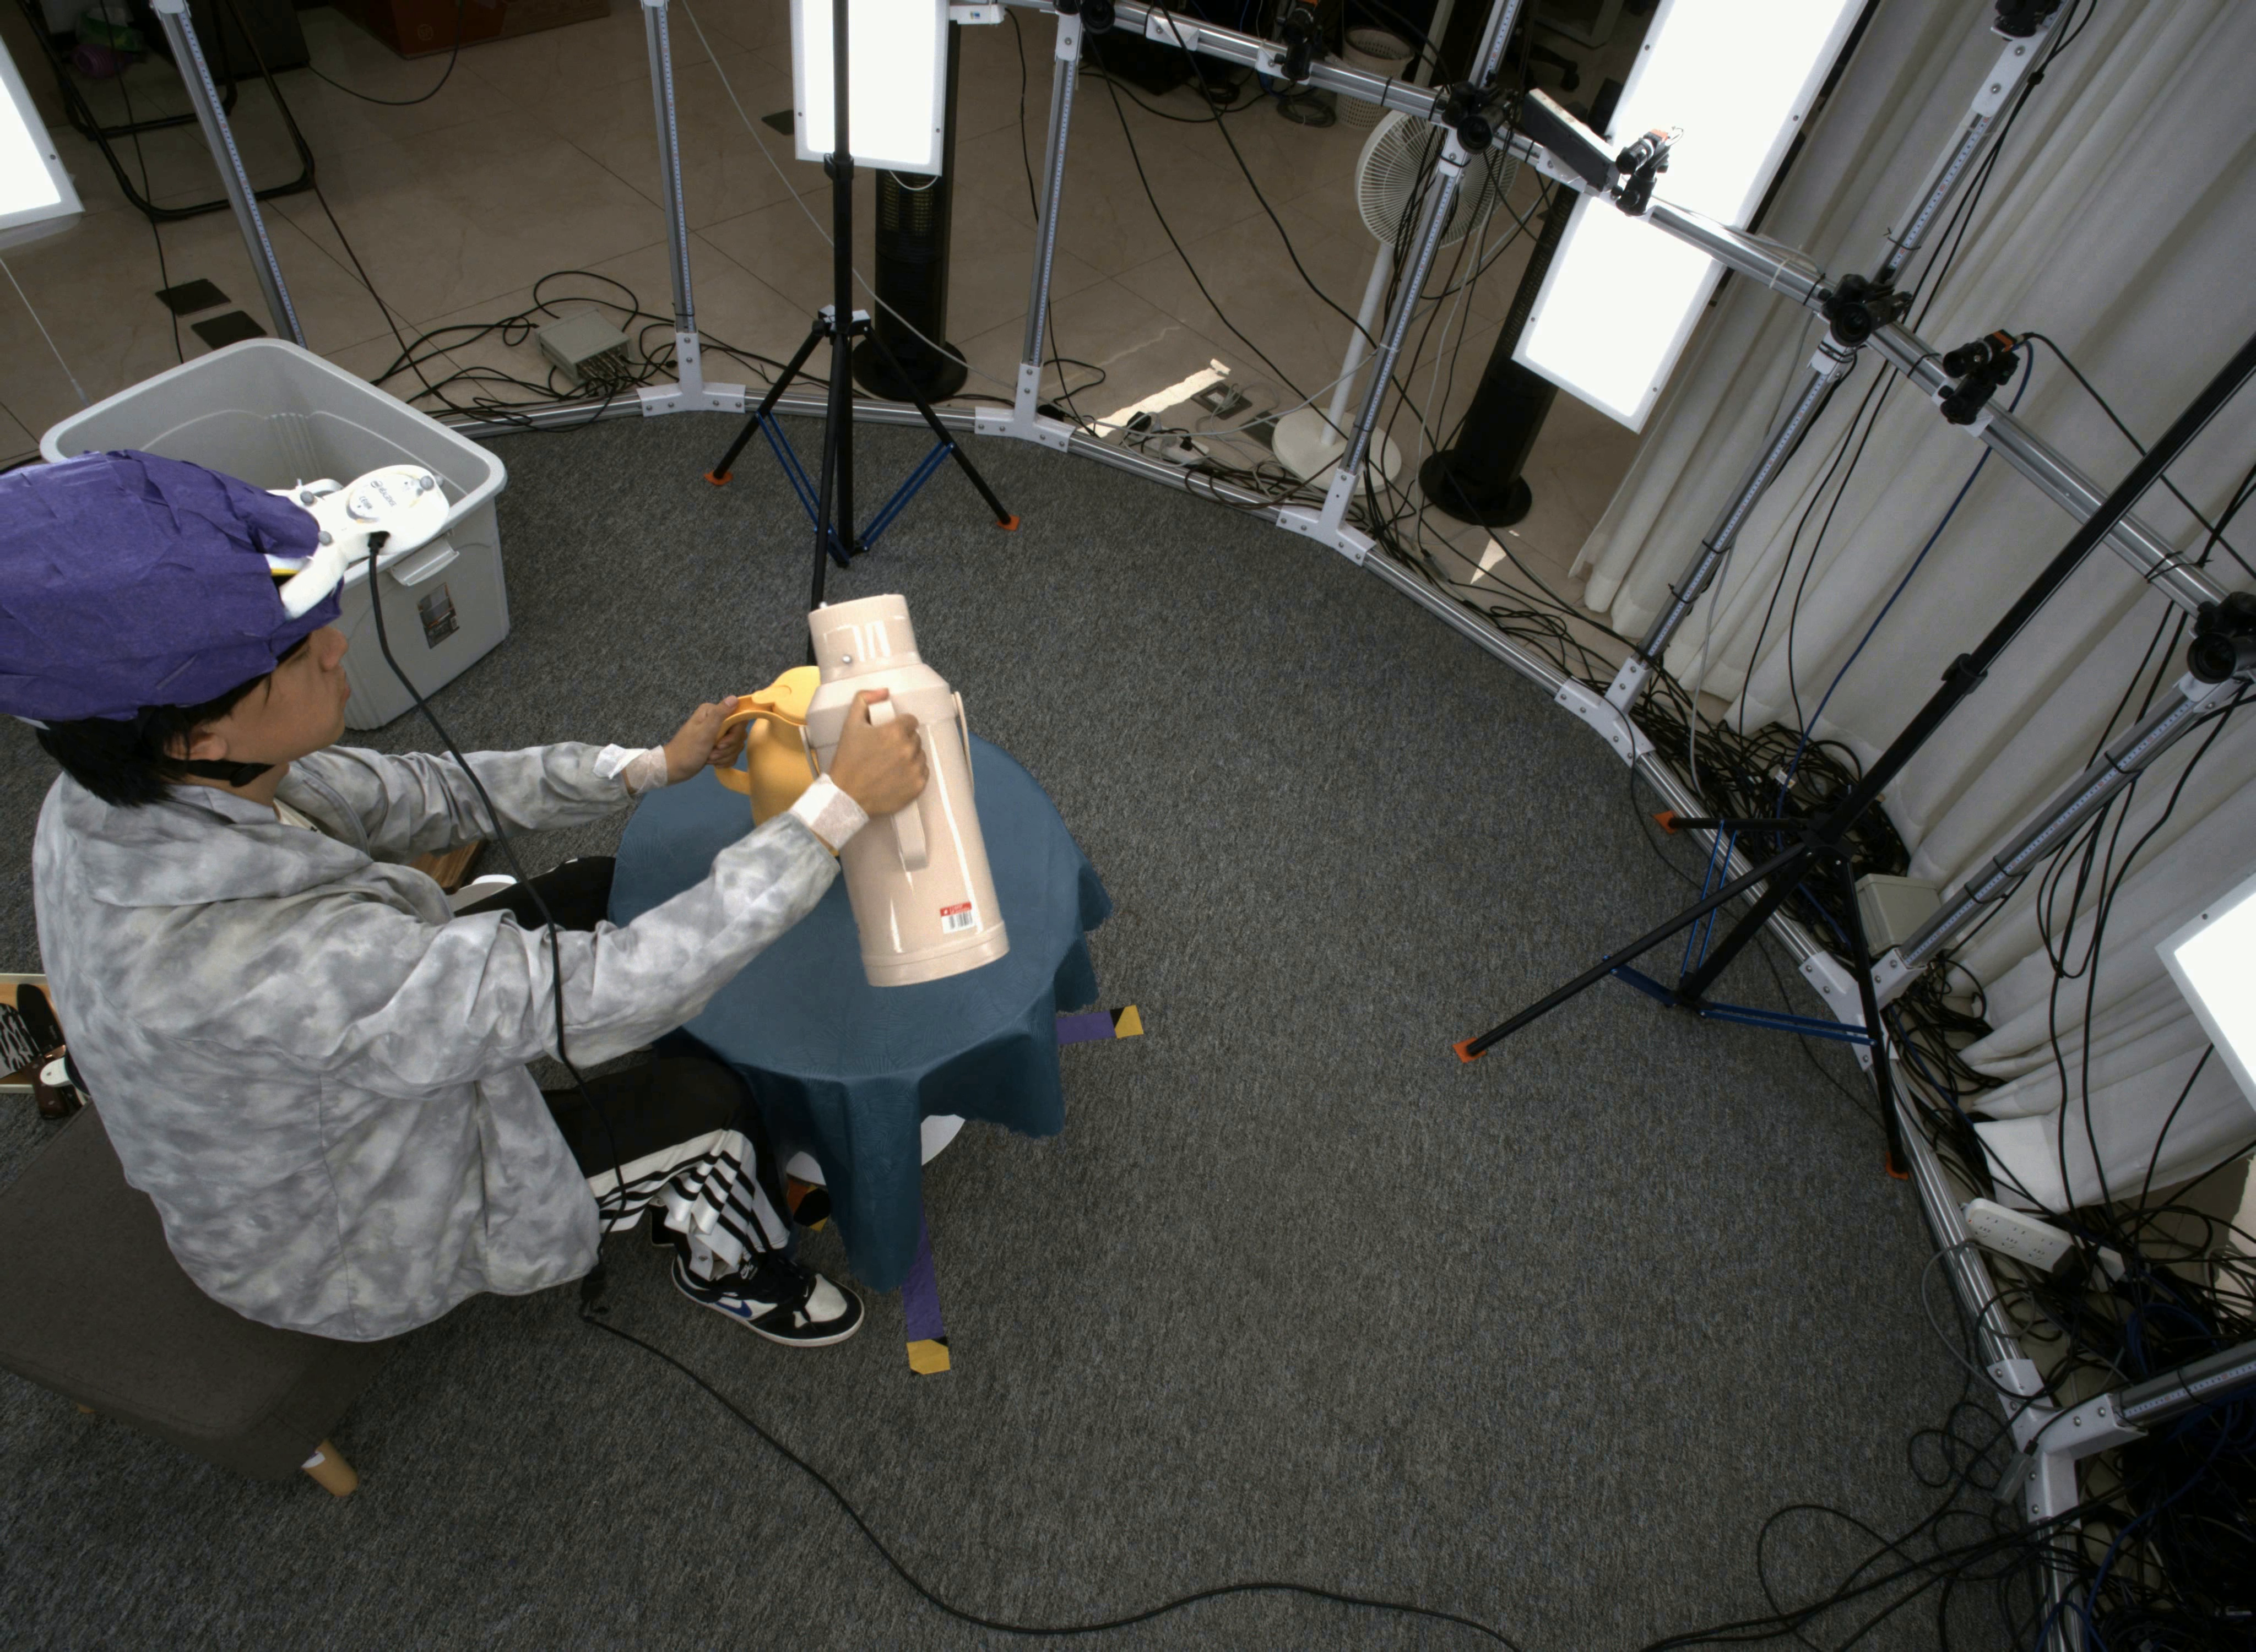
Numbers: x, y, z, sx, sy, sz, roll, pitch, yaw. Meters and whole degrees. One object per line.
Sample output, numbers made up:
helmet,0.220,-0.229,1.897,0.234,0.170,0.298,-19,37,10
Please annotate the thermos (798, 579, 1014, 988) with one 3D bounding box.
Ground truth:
thermos,-0.243,-0.045,1.371,0.175,0.204,0.413,-13,96,-10

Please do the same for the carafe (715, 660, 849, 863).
carafe,-0.410,-0.085,1.624,0.203,0.266,0.159,-6,52,-17
